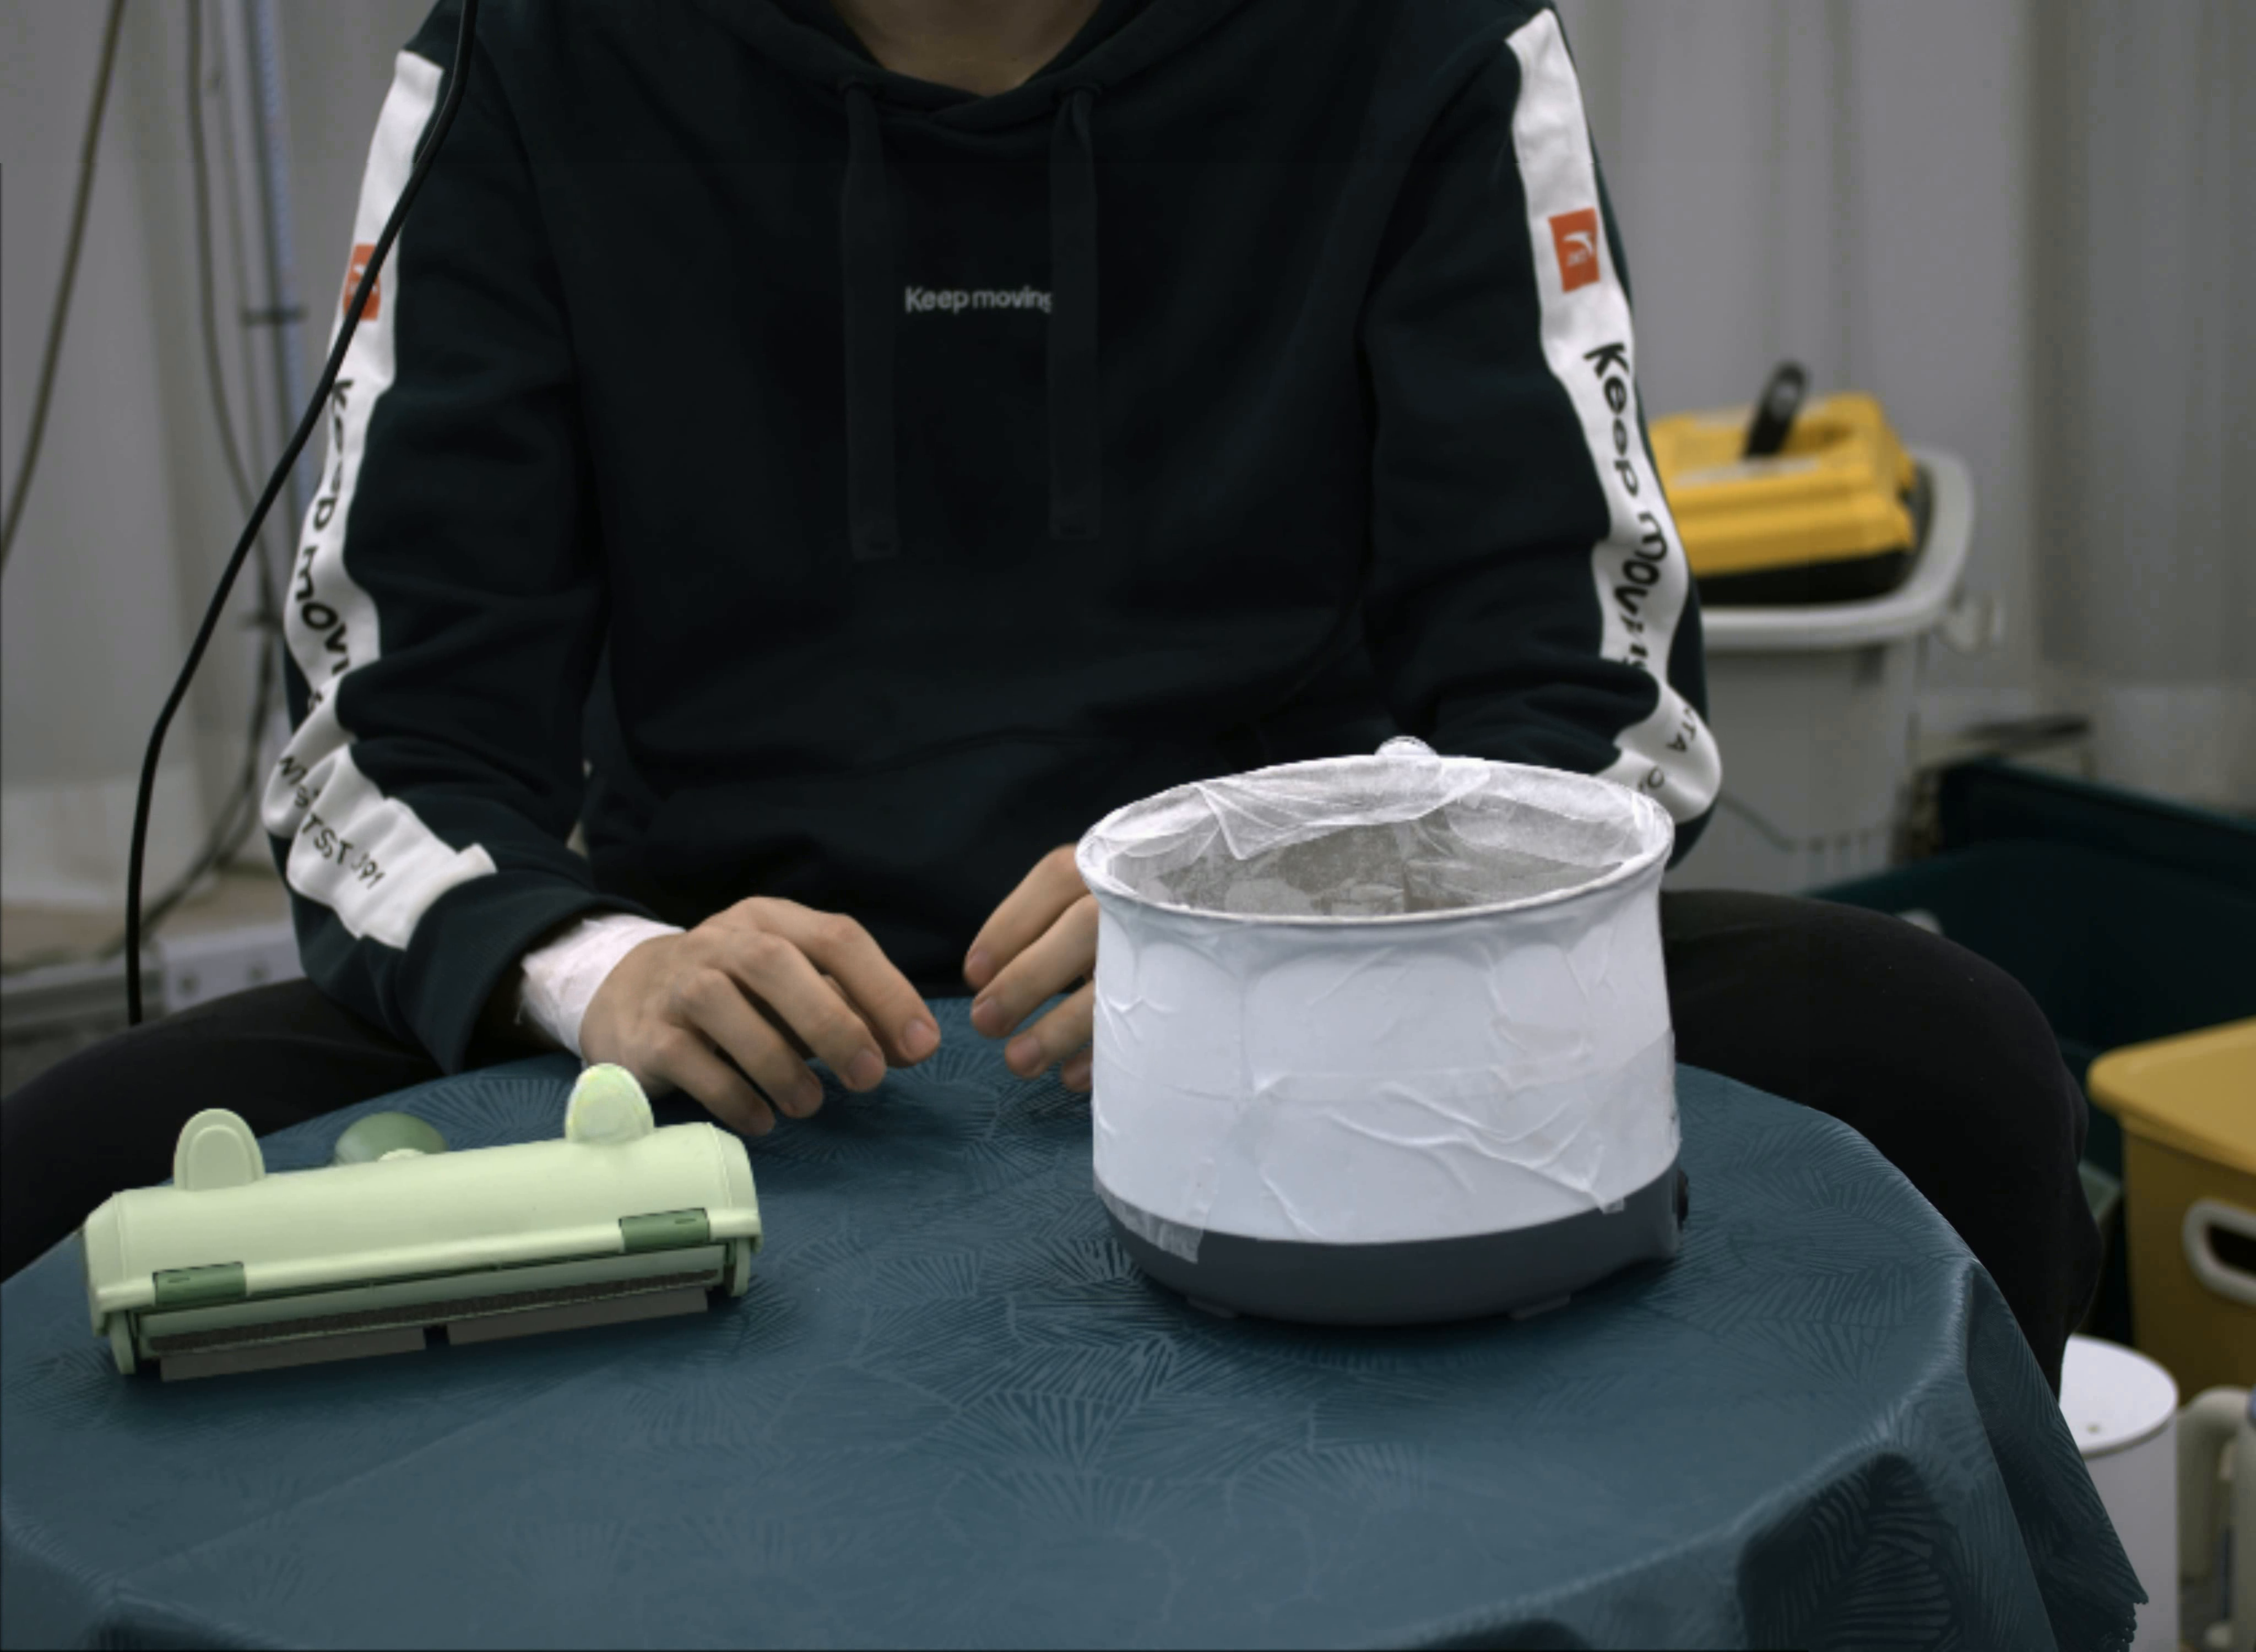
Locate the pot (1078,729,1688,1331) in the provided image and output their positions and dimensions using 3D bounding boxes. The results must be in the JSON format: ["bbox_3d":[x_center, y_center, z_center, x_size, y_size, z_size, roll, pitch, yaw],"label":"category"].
[{"bbox_3d":[0.079,0.056,1.651,0.178,0.136,0.235,0,16,8],"label":"pot"}]

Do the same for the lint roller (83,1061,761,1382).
[{"bbox_3d":[-0.221,0.101,1.667,0.198,0.081,0.185,-7,20,-11],"label":"lint roller"}]
